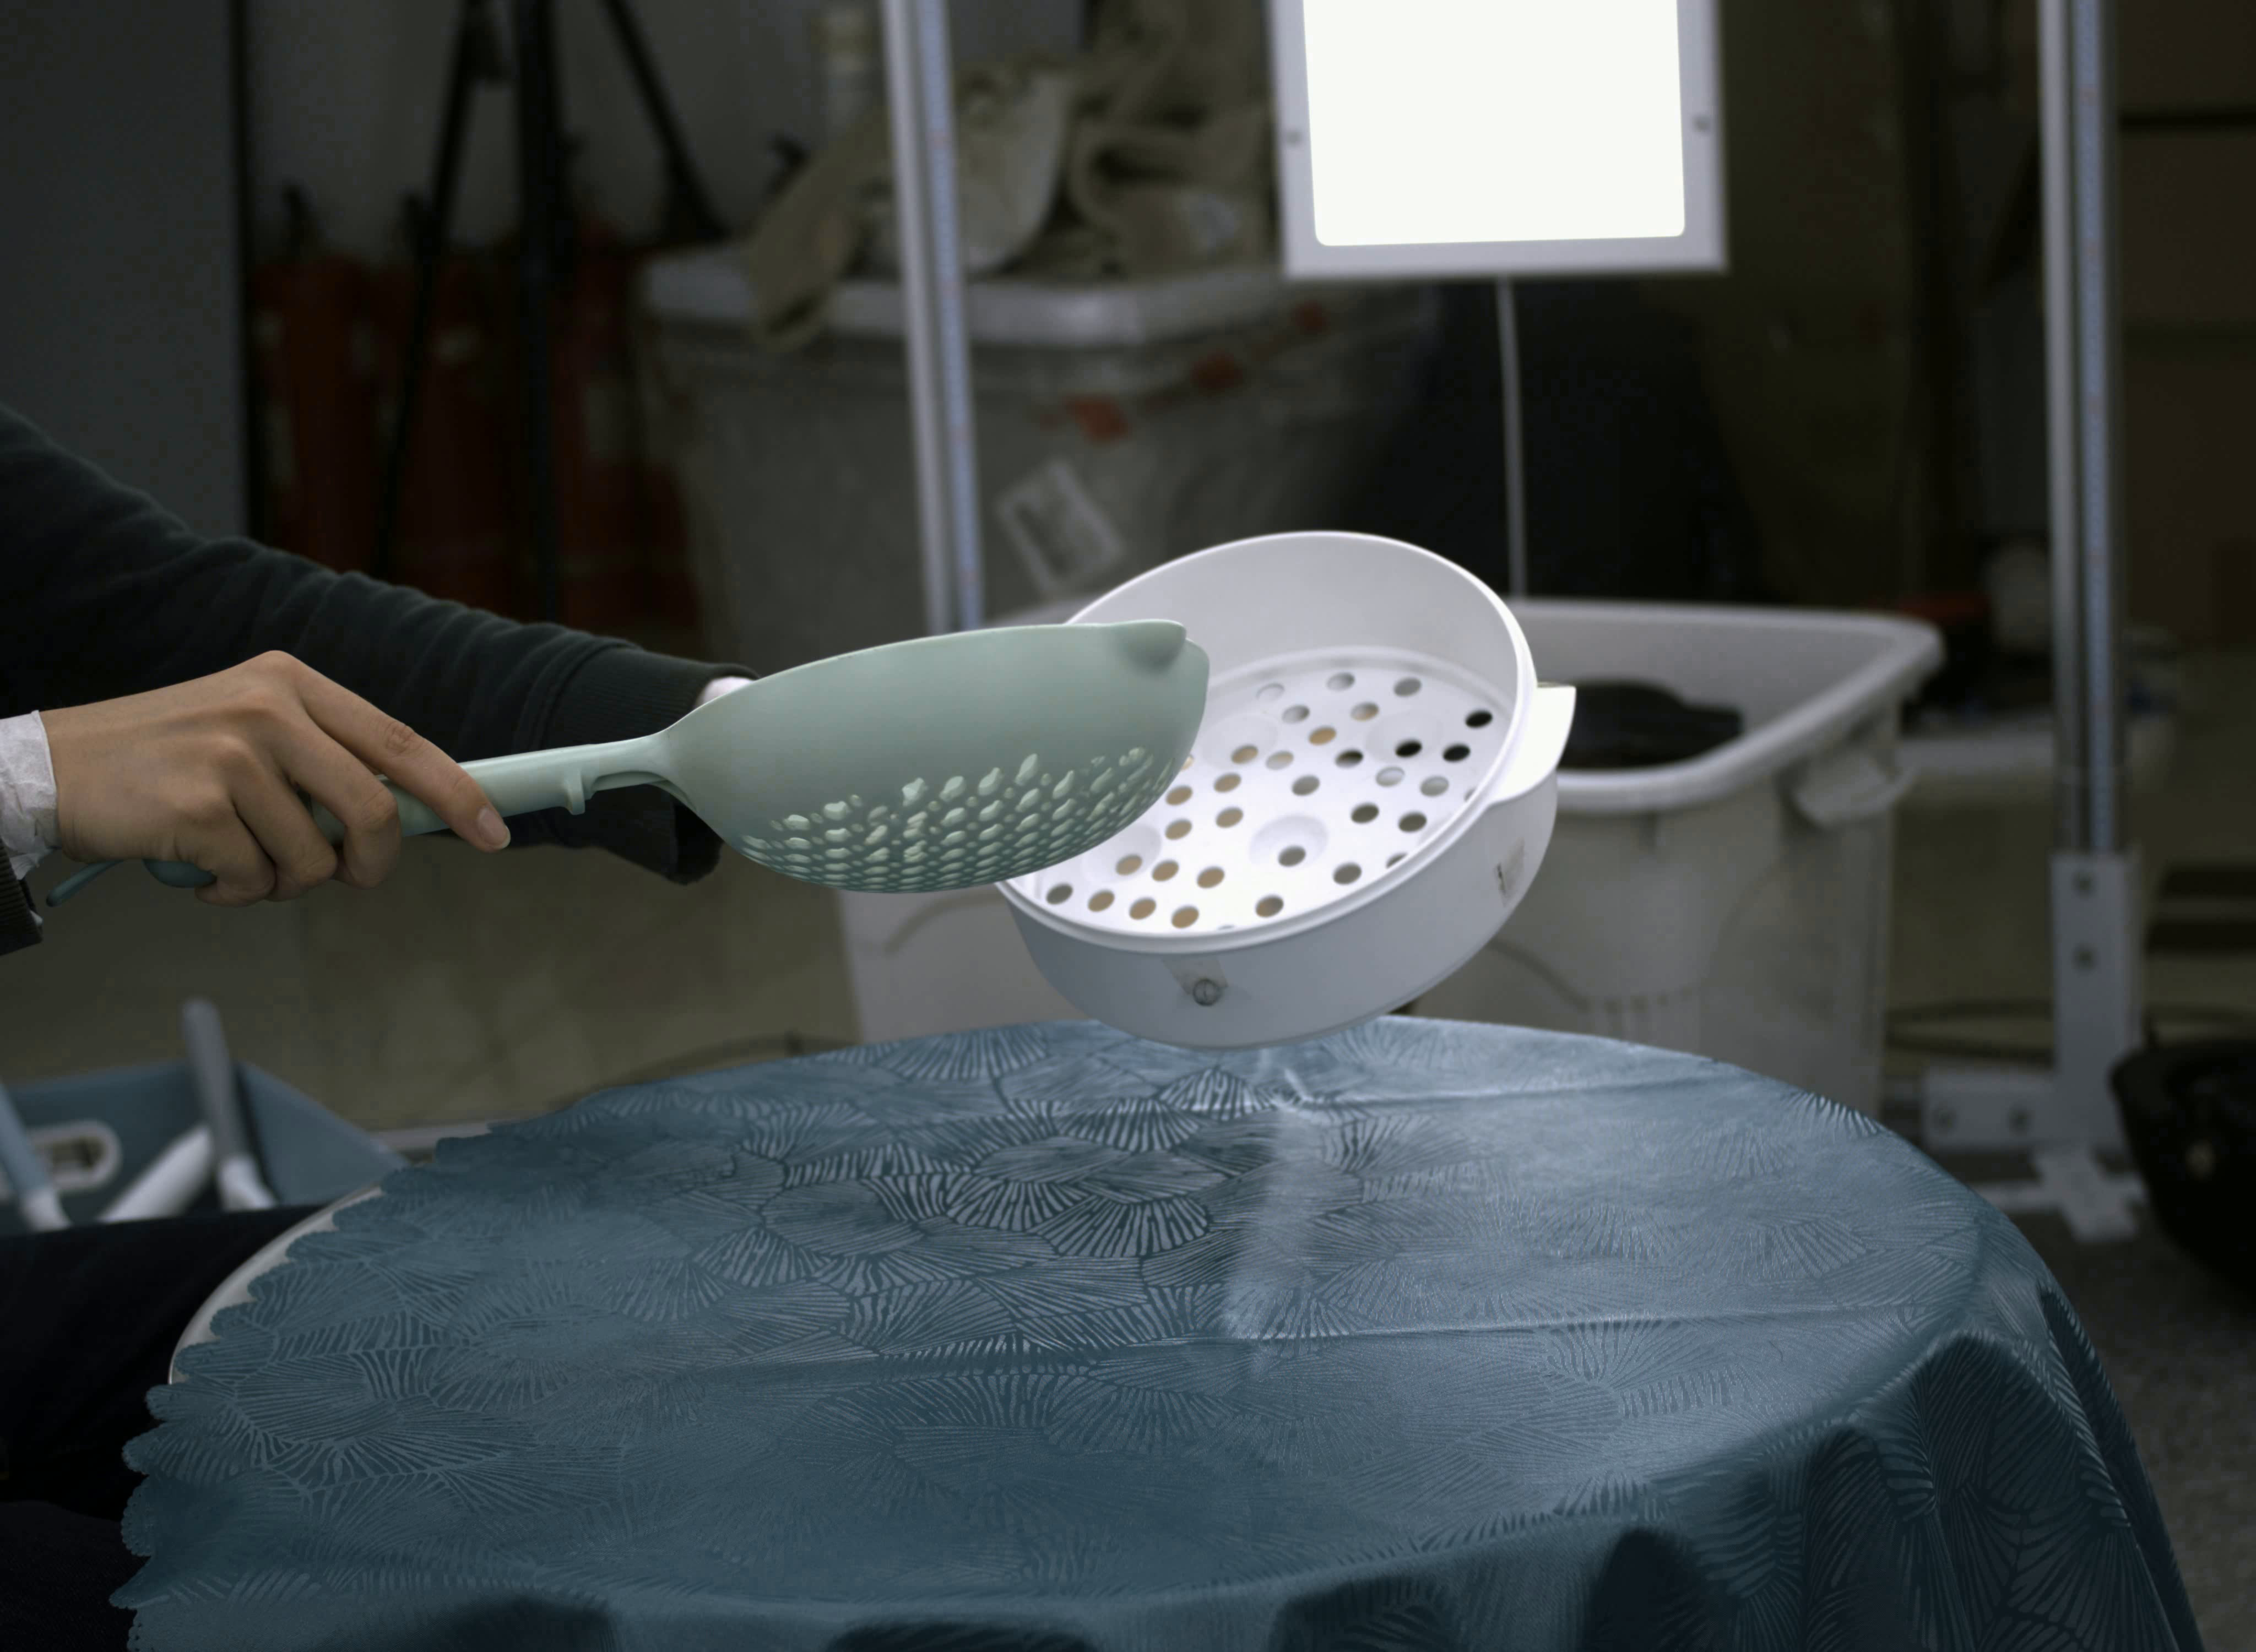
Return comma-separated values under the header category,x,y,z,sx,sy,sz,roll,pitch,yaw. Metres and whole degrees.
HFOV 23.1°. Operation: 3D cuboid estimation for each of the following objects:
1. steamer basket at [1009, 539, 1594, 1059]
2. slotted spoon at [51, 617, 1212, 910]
category,x,y,z,sx,sy,sz,roll,pitch,yaw
steamer basket,0.054,-0.010,1.882,0.234,0.069,0.199,-3,43,23
slotted spoon,-0.151,-0.013,1.703,0.357,0.075,0.170,0,-13,-3
